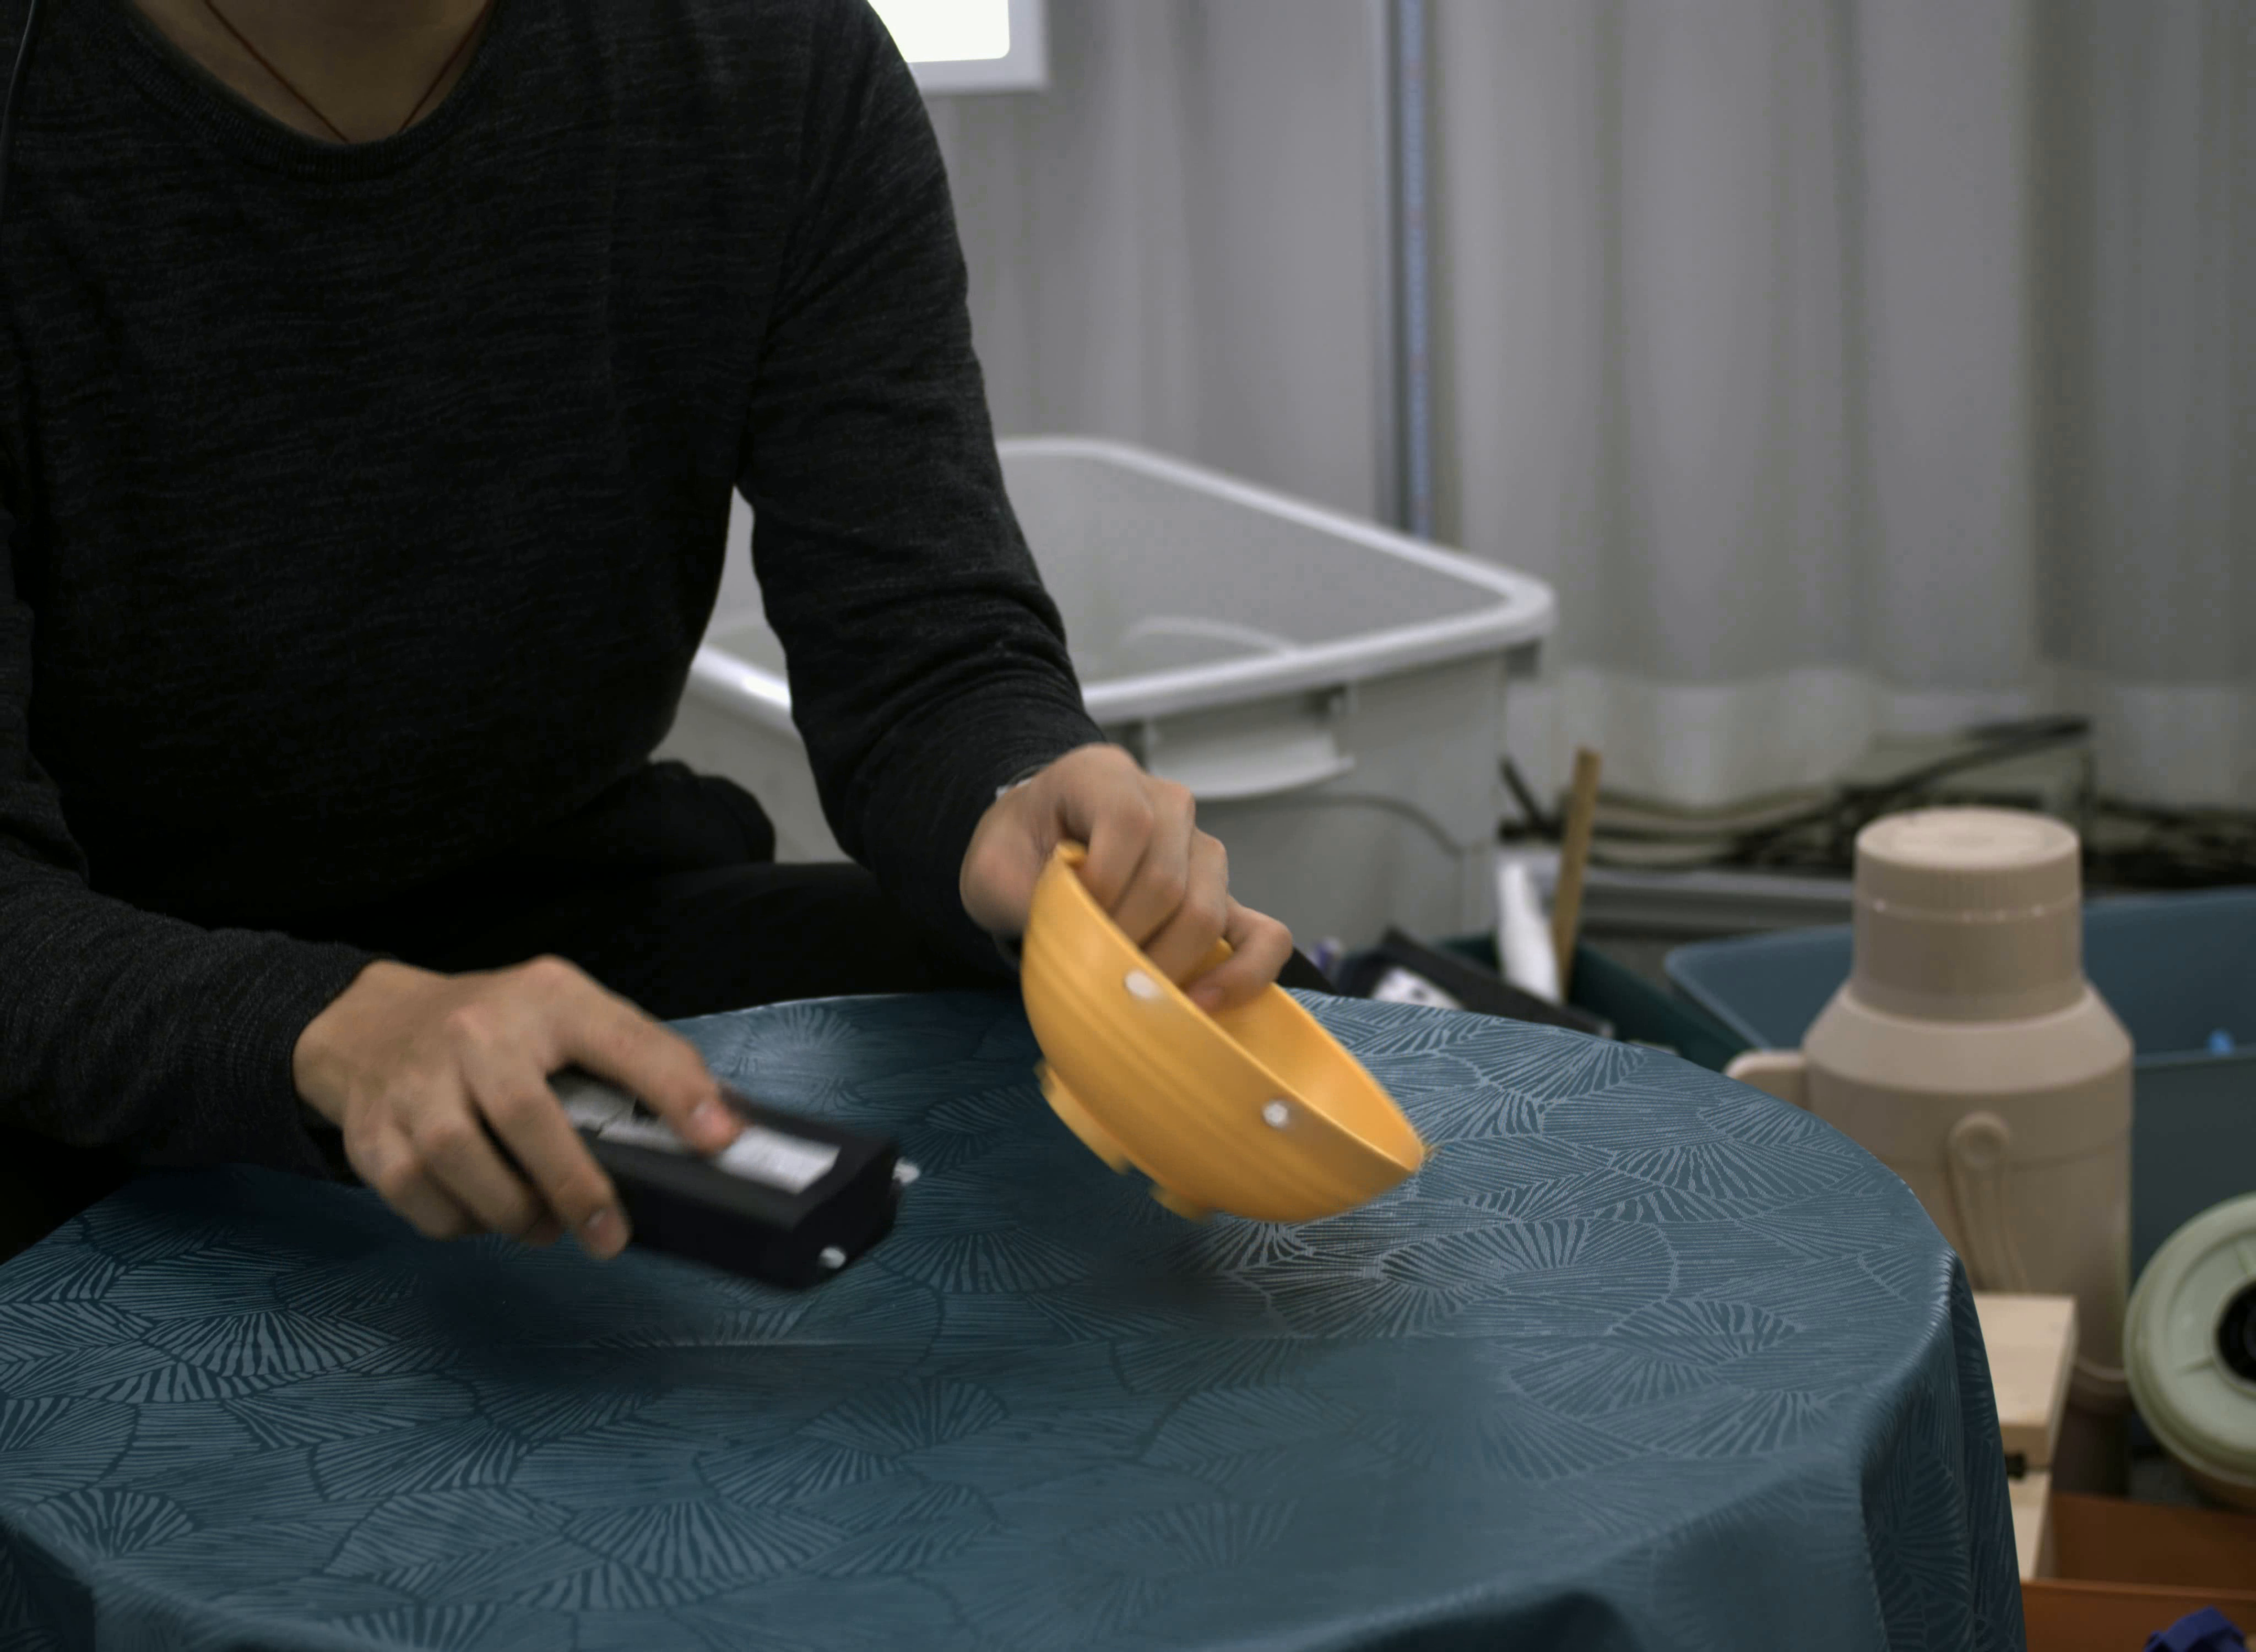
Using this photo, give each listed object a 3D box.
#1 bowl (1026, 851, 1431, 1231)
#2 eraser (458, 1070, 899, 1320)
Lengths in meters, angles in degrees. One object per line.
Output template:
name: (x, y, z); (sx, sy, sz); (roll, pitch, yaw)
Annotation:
bowl: (0.018, 0.077, 1.630); (0.145, 0.060, 0.146); (39, 7, -6)
eraser: (-0.128, 0.105, 1.569); (0.126, 0.030, 0.054); (14, 32, 33)
